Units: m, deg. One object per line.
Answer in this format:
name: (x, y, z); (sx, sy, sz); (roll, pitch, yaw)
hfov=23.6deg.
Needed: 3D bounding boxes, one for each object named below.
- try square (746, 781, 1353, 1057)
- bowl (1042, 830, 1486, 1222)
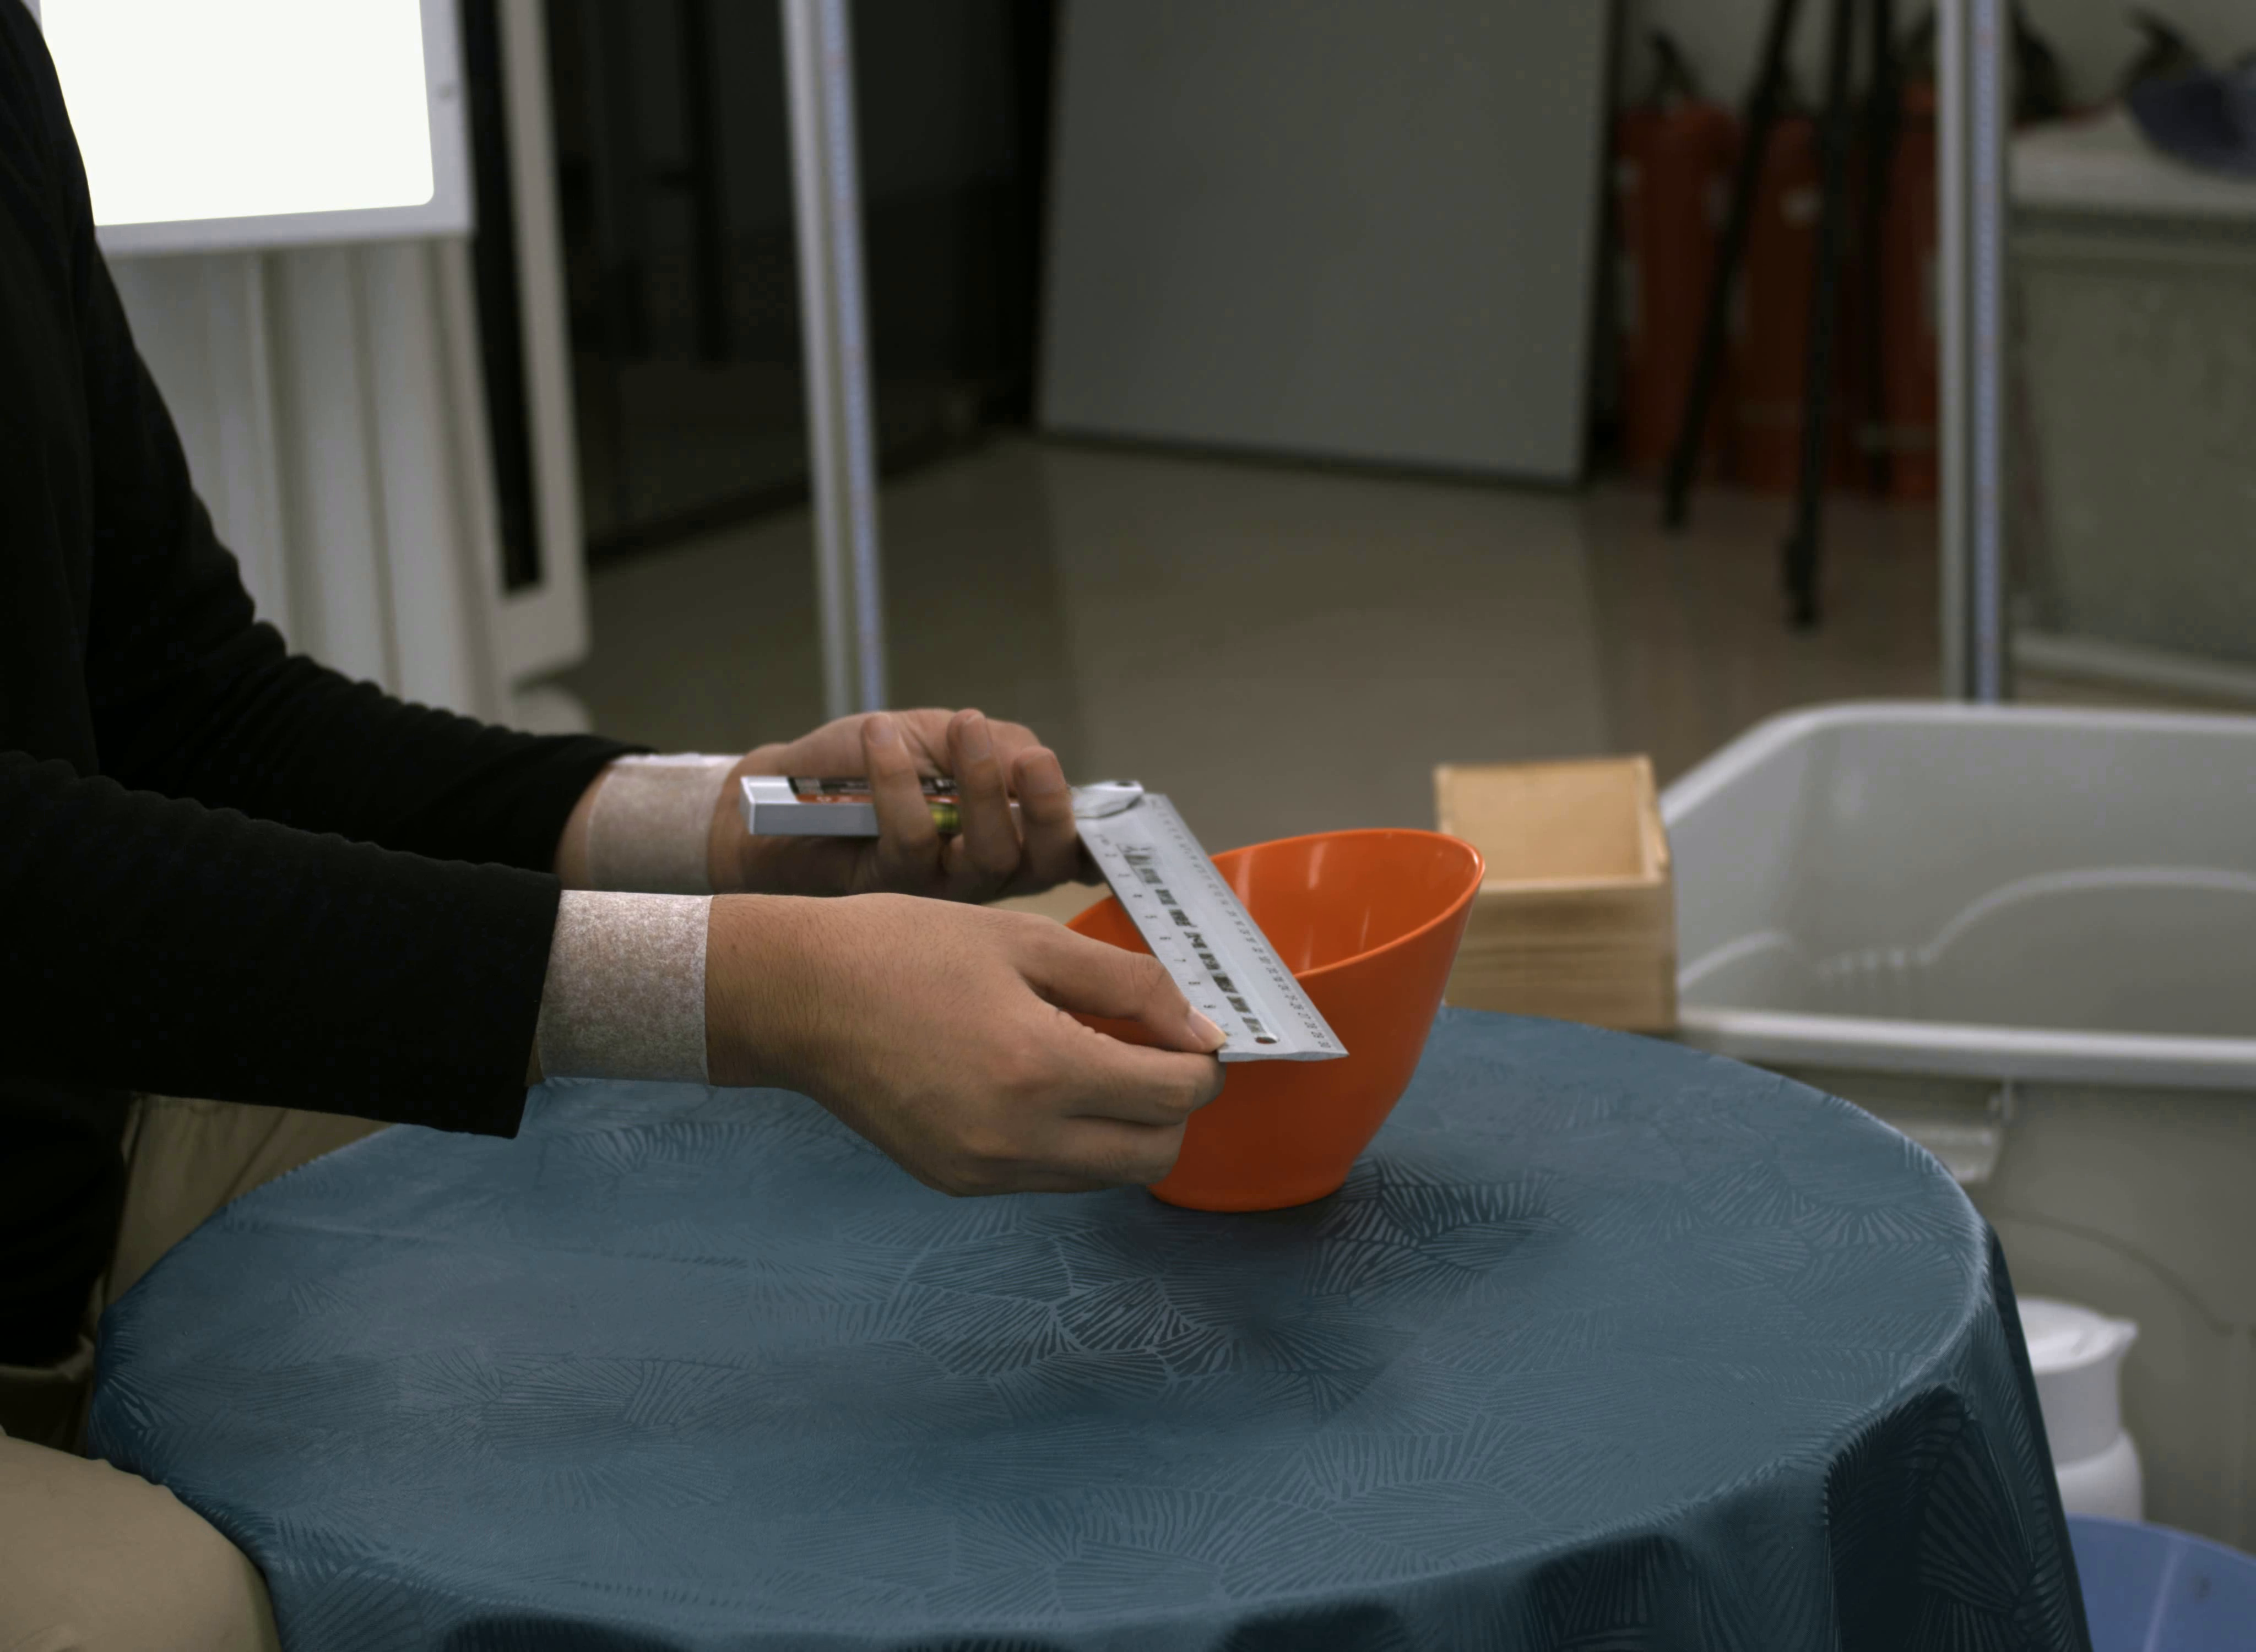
try square: (-0.033, 0.030, 1.731); (0.149, 0.016, 0.314); (-2, 15, -9)
bowl: (0.047, 0.068, 1.760); (0.146, 0.106, 0.148); (-4, 15, 0)
